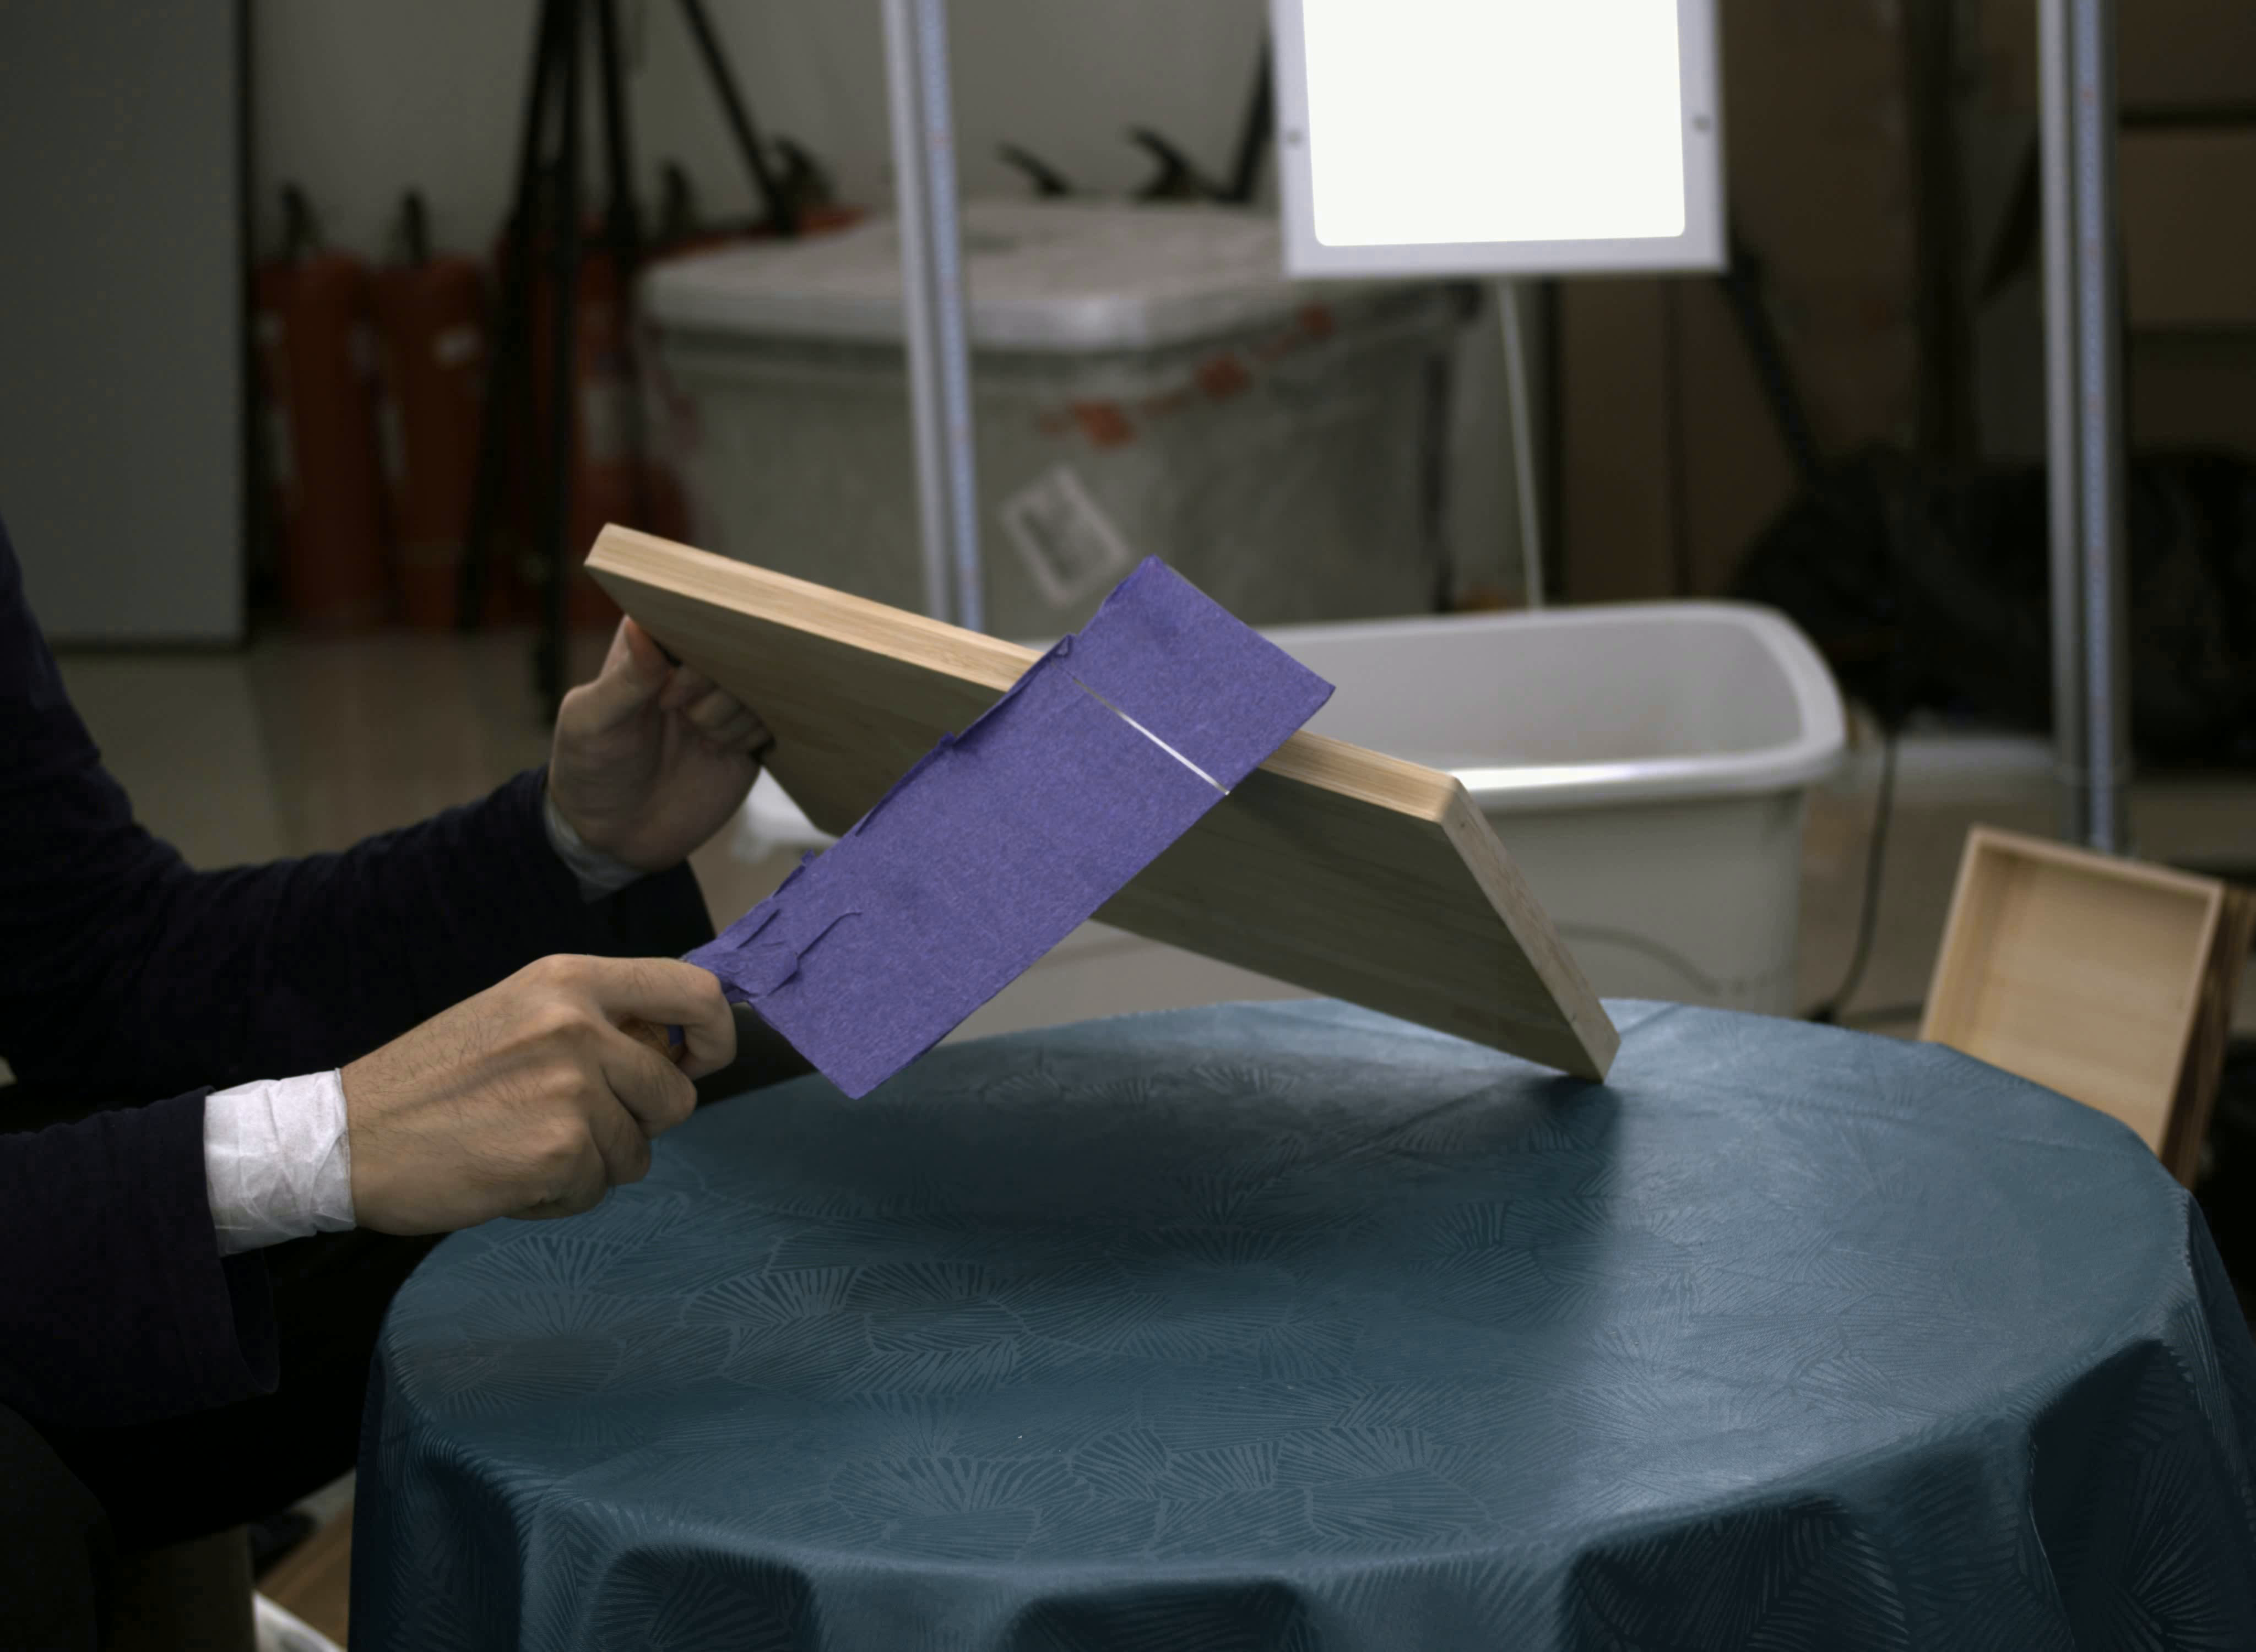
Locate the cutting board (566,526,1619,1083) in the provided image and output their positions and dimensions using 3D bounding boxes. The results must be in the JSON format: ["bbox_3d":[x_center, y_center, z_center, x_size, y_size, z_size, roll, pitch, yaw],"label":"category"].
[{"bbox_3d":[-0.010,-0.007,1.961,0.354,0.023,0.248,17,-17,26],"label":"cutting board"}]

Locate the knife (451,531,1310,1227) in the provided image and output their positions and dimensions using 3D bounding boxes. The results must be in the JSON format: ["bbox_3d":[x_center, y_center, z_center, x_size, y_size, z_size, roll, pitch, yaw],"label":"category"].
[{"bbox_3d":[-0.076,0.028,1.762,0.313,0.032,0.105,-43,50,-9],"label":"knife"}]
